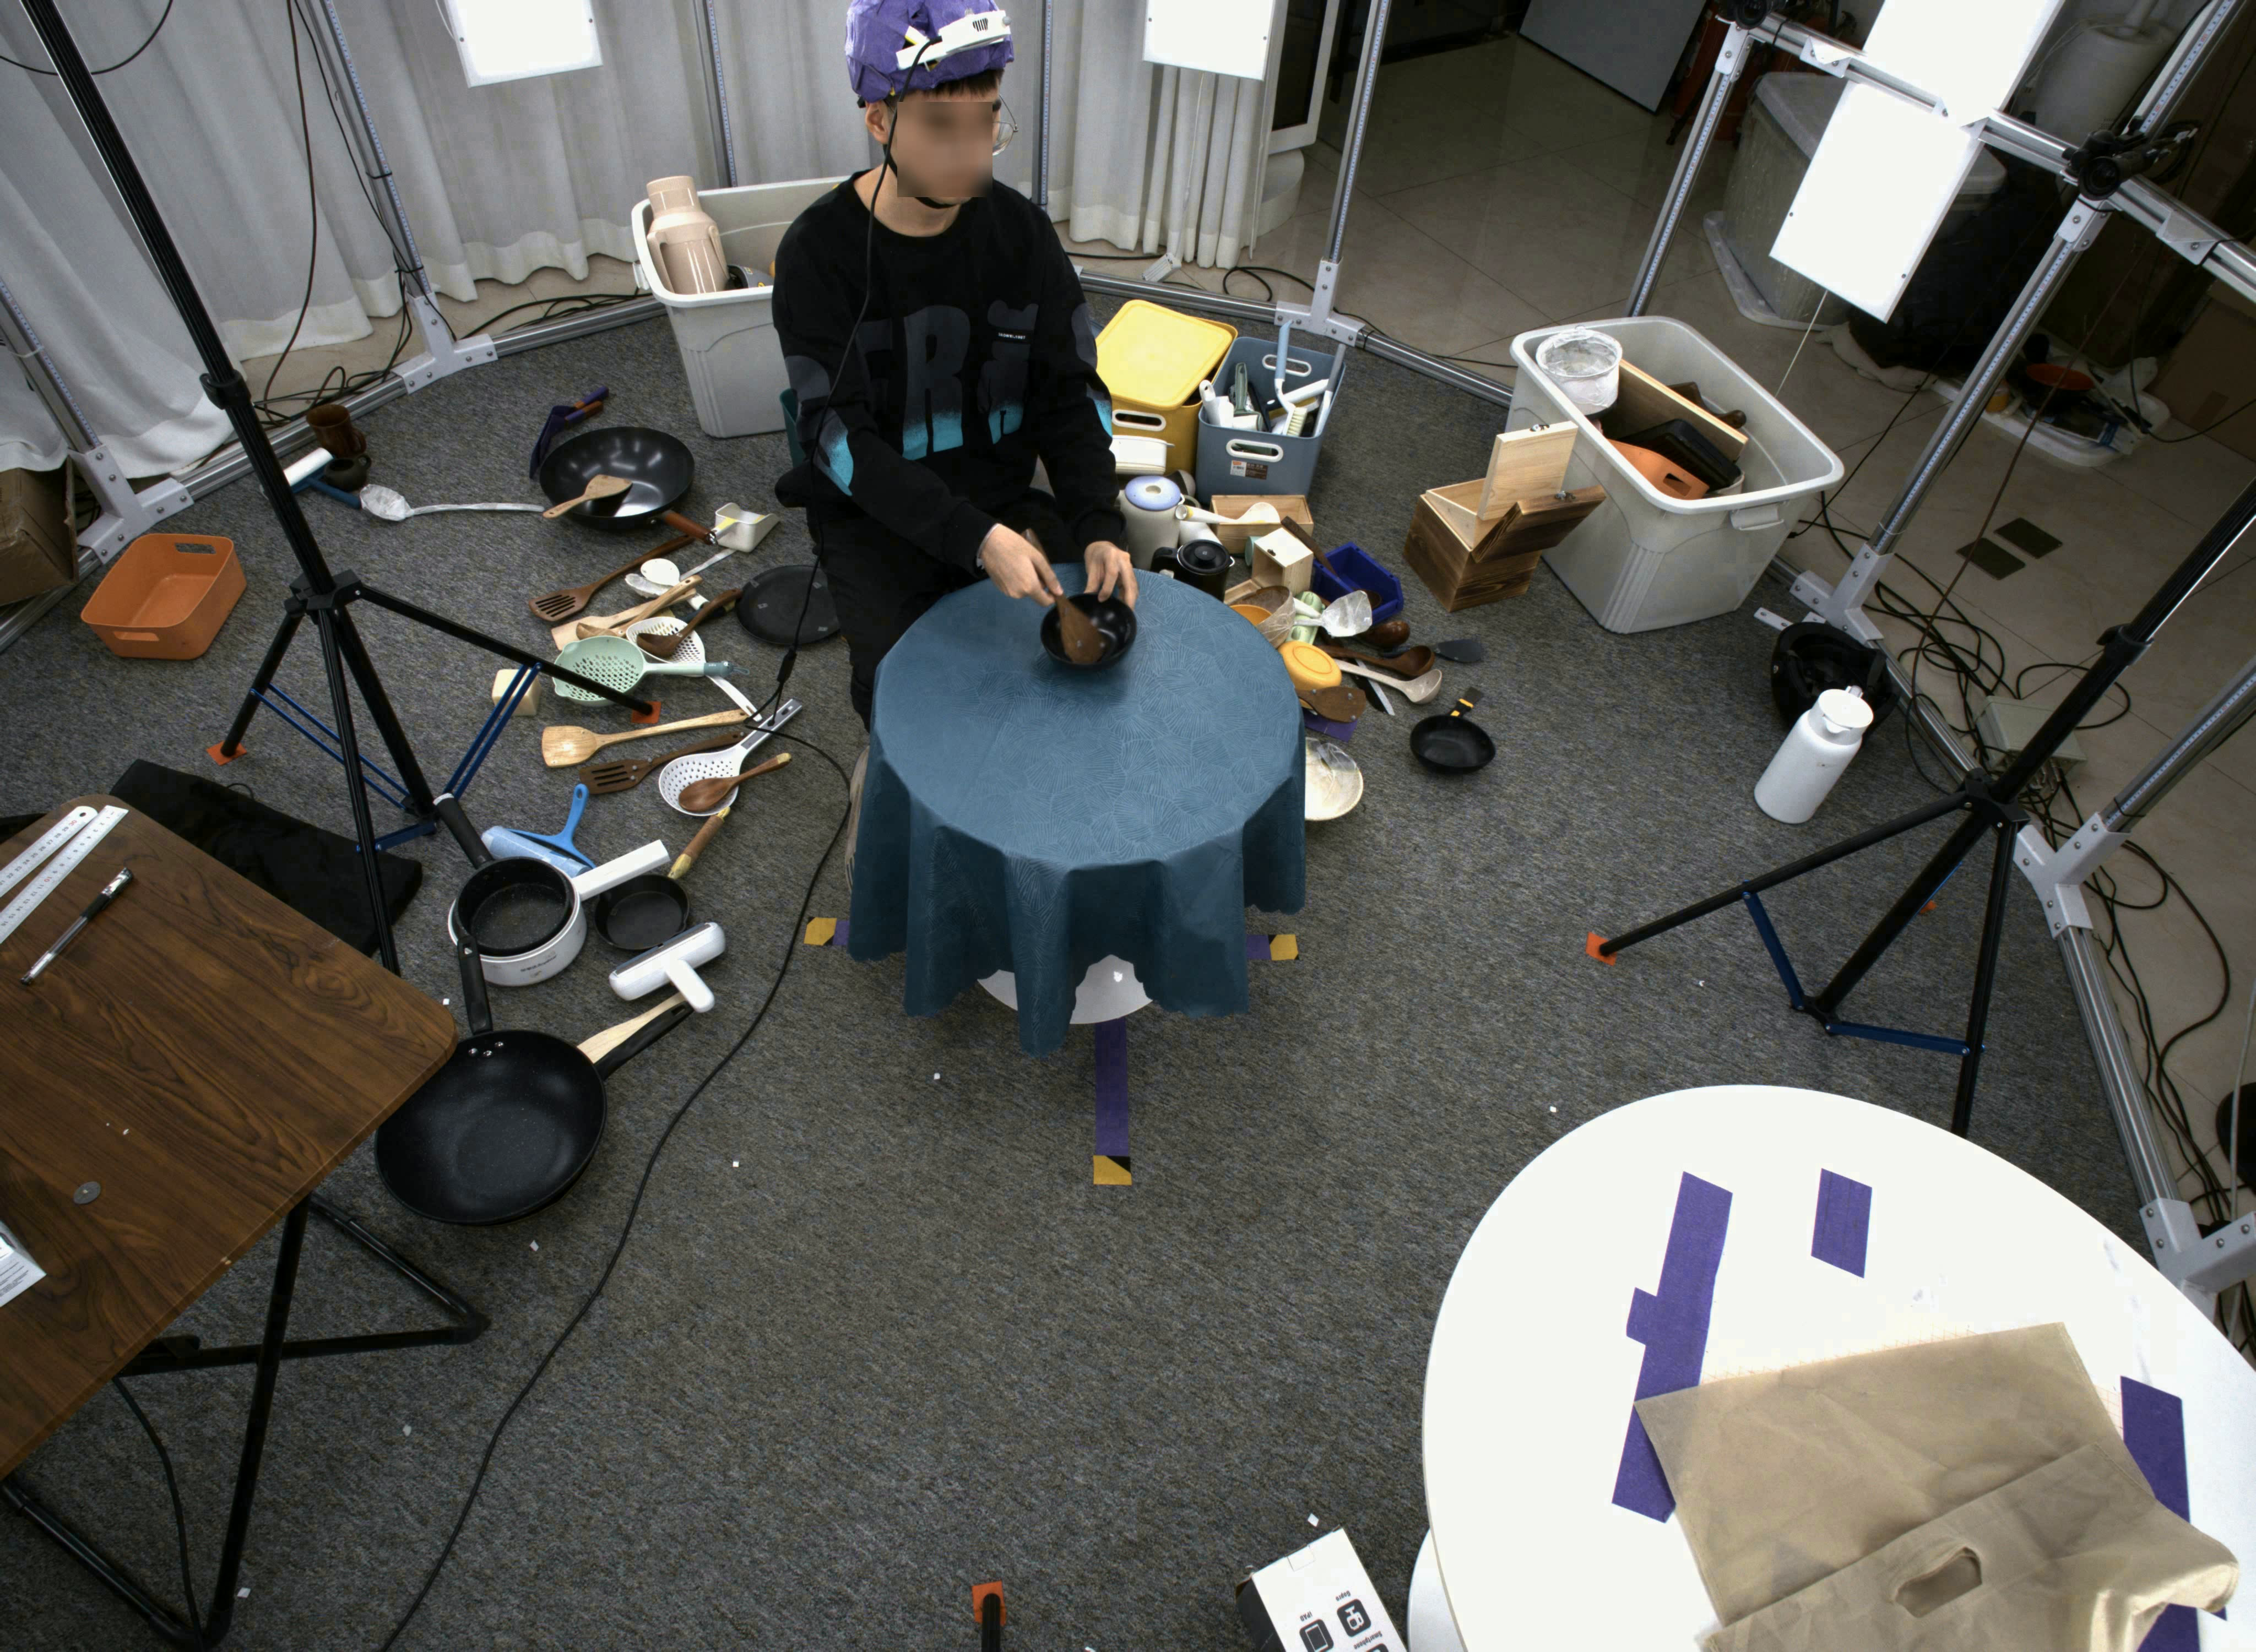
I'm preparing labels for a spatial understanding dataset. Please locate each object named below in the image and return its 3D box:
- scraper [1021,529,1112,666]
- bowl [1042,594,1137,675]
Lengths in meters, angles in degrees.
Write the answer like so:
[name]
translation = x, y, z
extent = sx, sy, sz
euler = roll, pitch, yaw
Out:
[scraper]
translation = -0.093, -0.326, 1.833
extent = 0.011, 0.208, 0.077
euler = -10, 27, 48
[bowl]
translation = -0.052, -0.269, 1.863
extent = 0.140, 0.048, 0.143
euler = -5, 55, 7
